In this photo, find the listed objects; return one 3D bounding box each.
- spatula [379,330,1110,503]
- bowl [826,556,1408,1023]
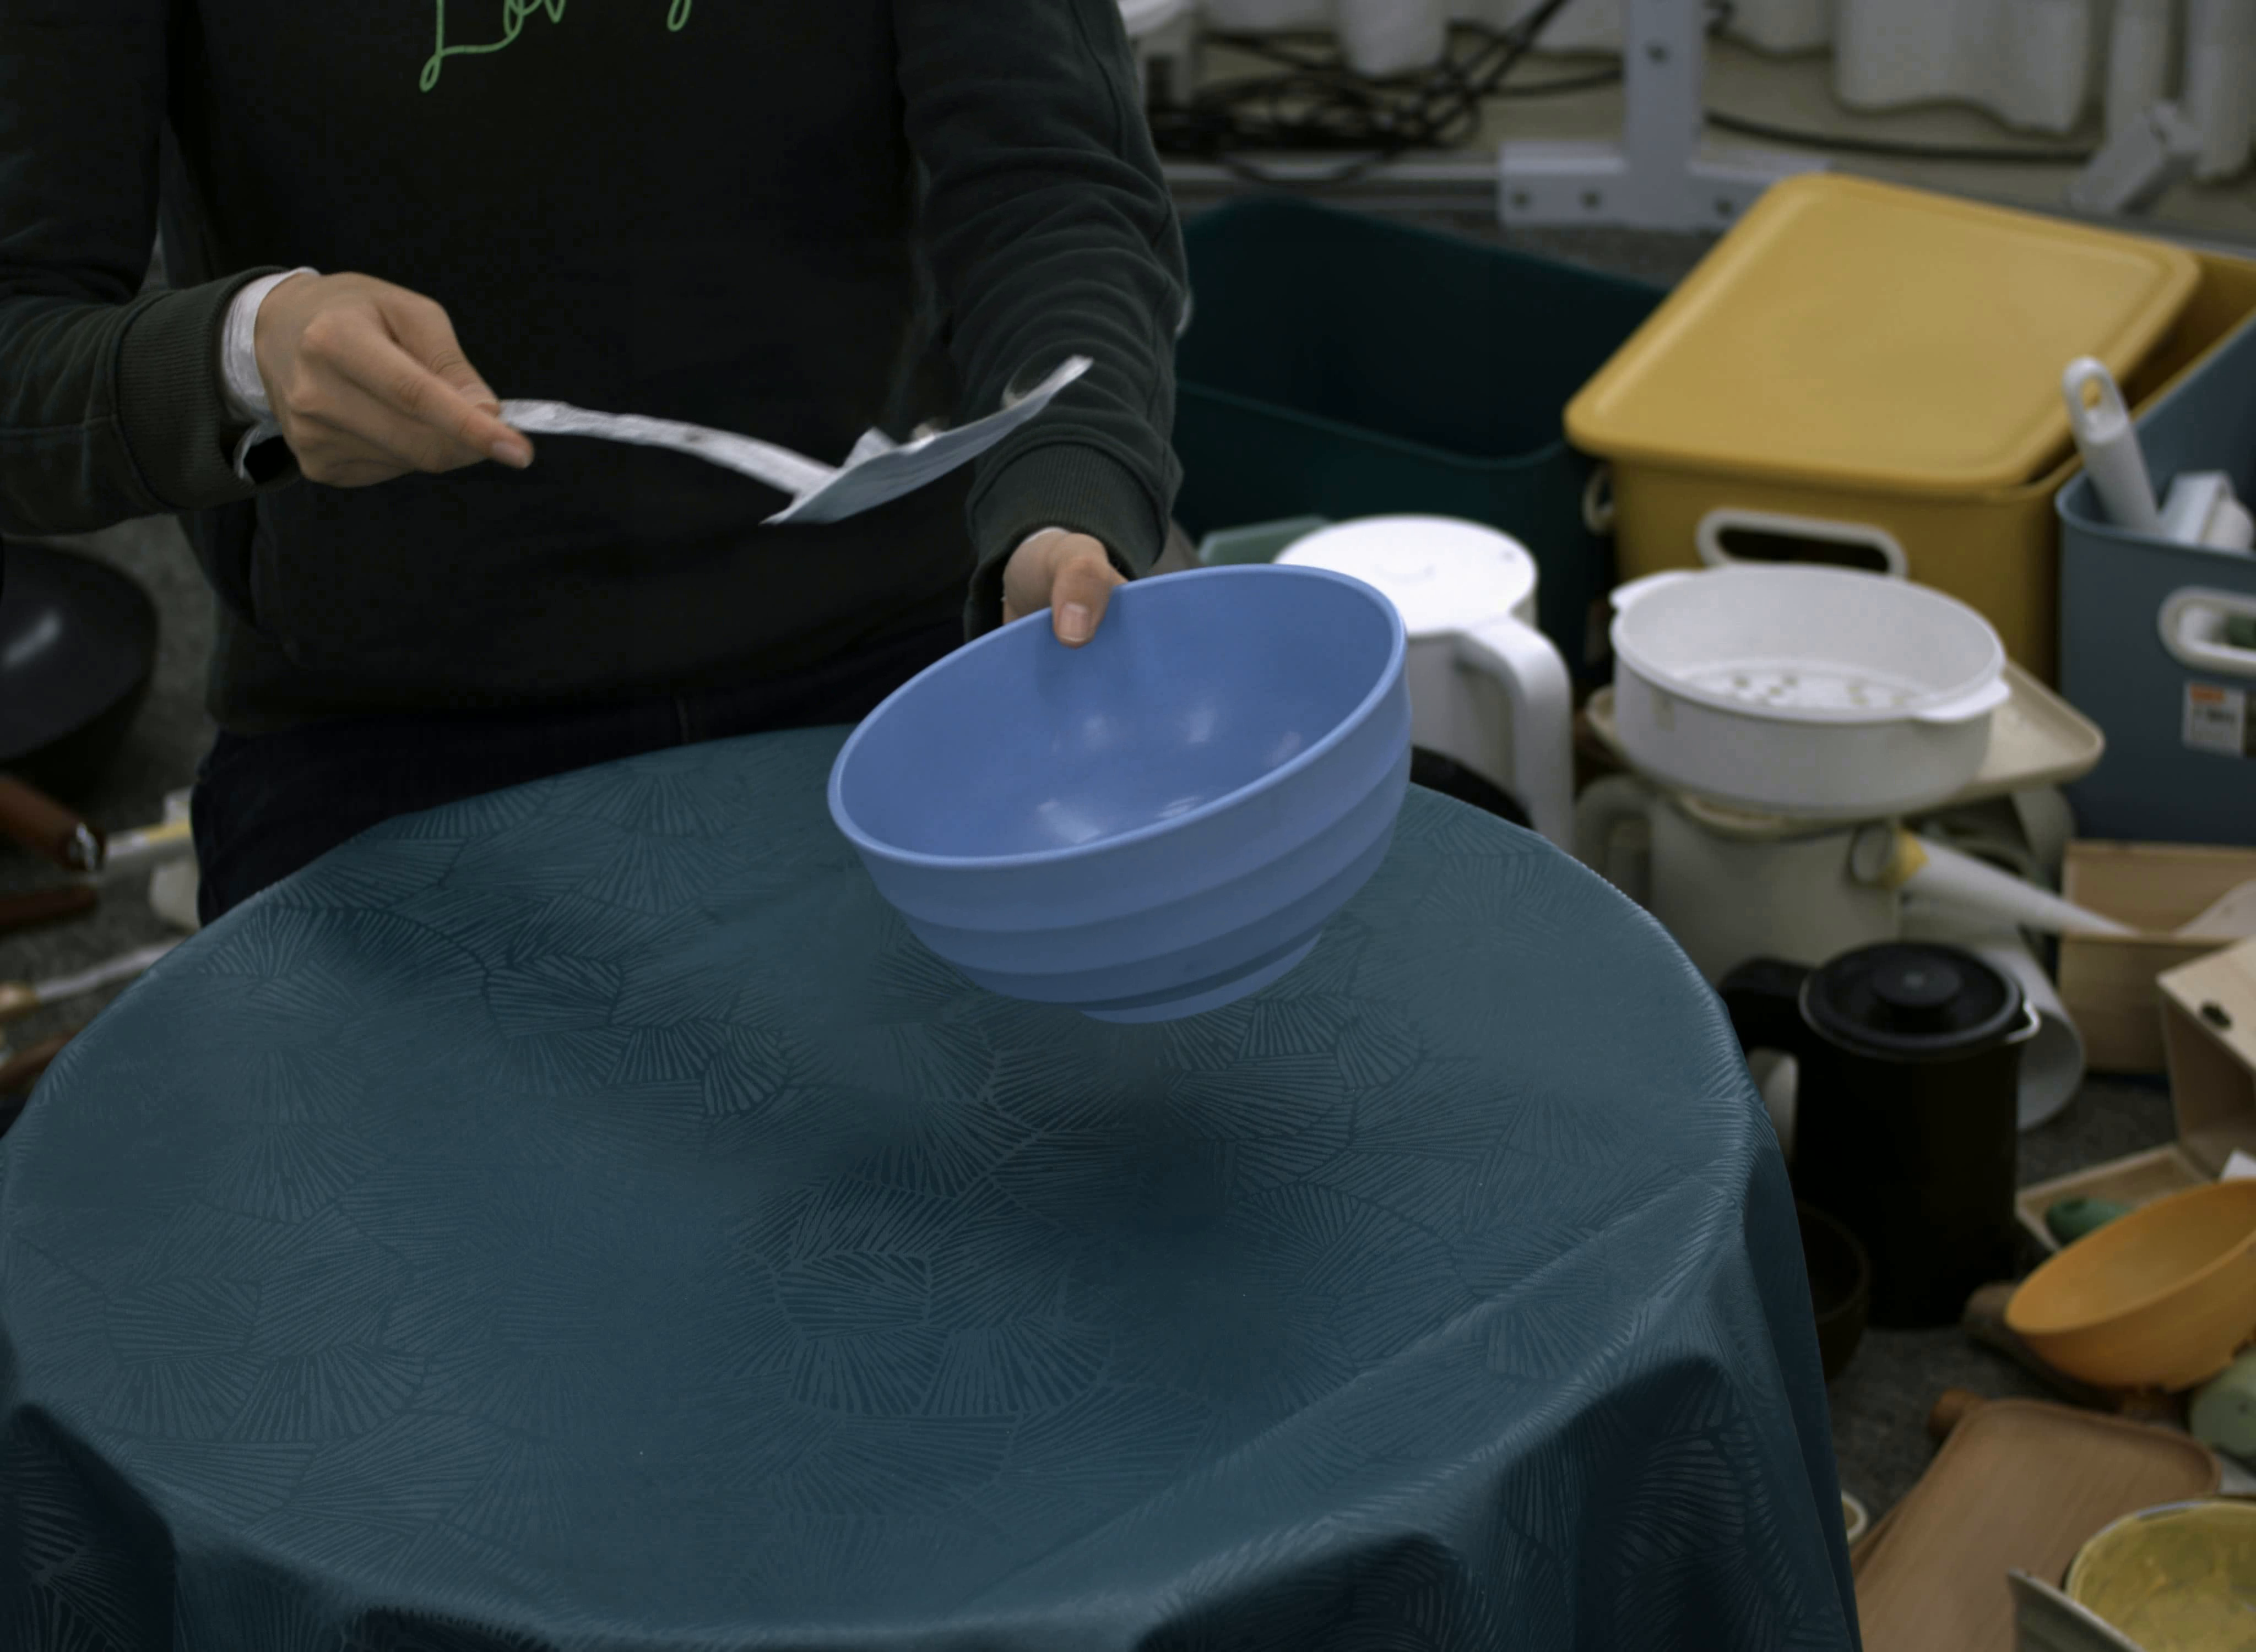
[{"bbox_3d":[-0.147,-0.138,1.844,0.100,0.044,0.362,-29,26,-37],"label":"spatula"},{"bbox_3d":[0.008,0.001,1.841,0.195,0.094,0.199,-15,26,8],"label":"bowl"}]
